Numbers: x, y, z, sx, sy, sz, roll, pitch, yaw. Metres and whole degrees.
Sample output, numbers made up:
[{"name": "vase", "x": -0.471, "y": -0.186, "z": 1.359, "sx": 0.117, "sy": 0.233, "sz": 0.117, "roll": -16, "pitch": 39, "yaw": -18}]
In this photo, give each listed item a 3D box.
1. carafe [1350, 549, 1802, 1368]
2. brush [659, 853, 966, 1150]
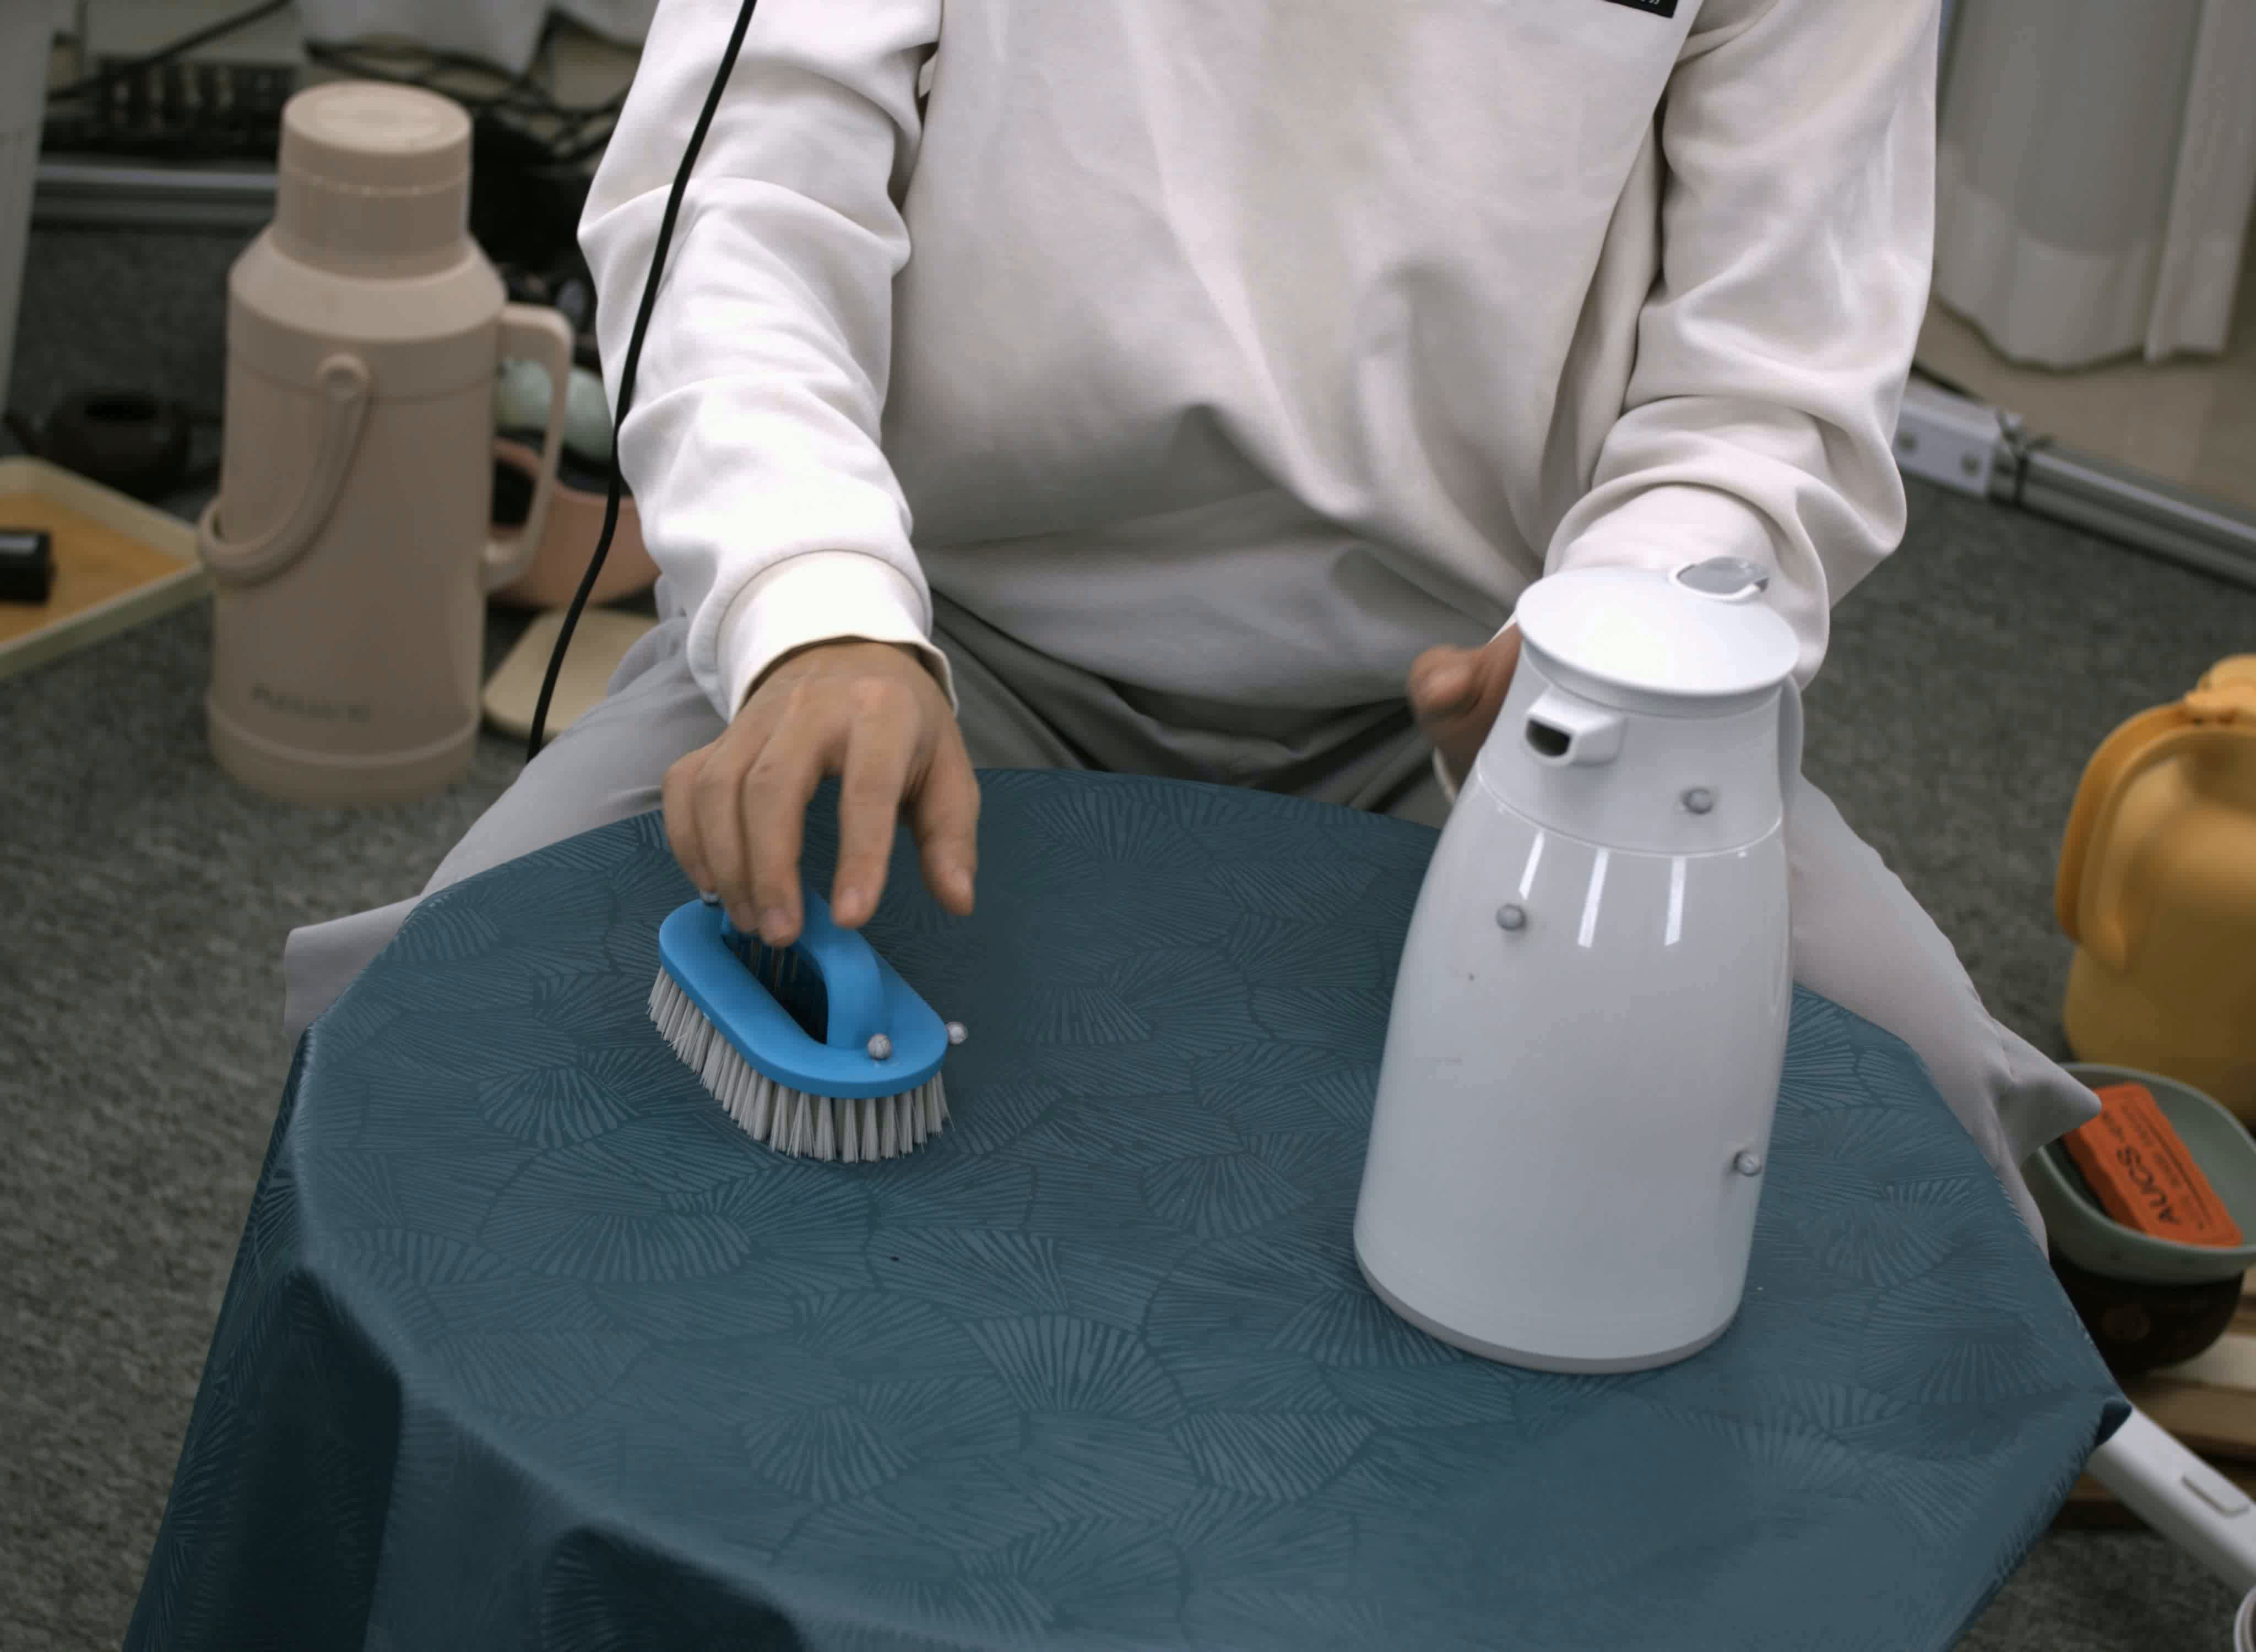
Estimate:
[{"name": "carafe", "x": 0.164, "y": 0.031, "z": 1.750, "sx": 0.133, "sy": 0.248, "sz": 0.167, "roll": 22, "pitch": 30, "yaw": 28}, {"name": "brush", "x": -0.111, "y": 0.052, "z": 1.846, "sx": 0.084, "sy": 0.063, "sz": 0.143, "roll": -12, "pitch": 32, "yaw": -23}]
